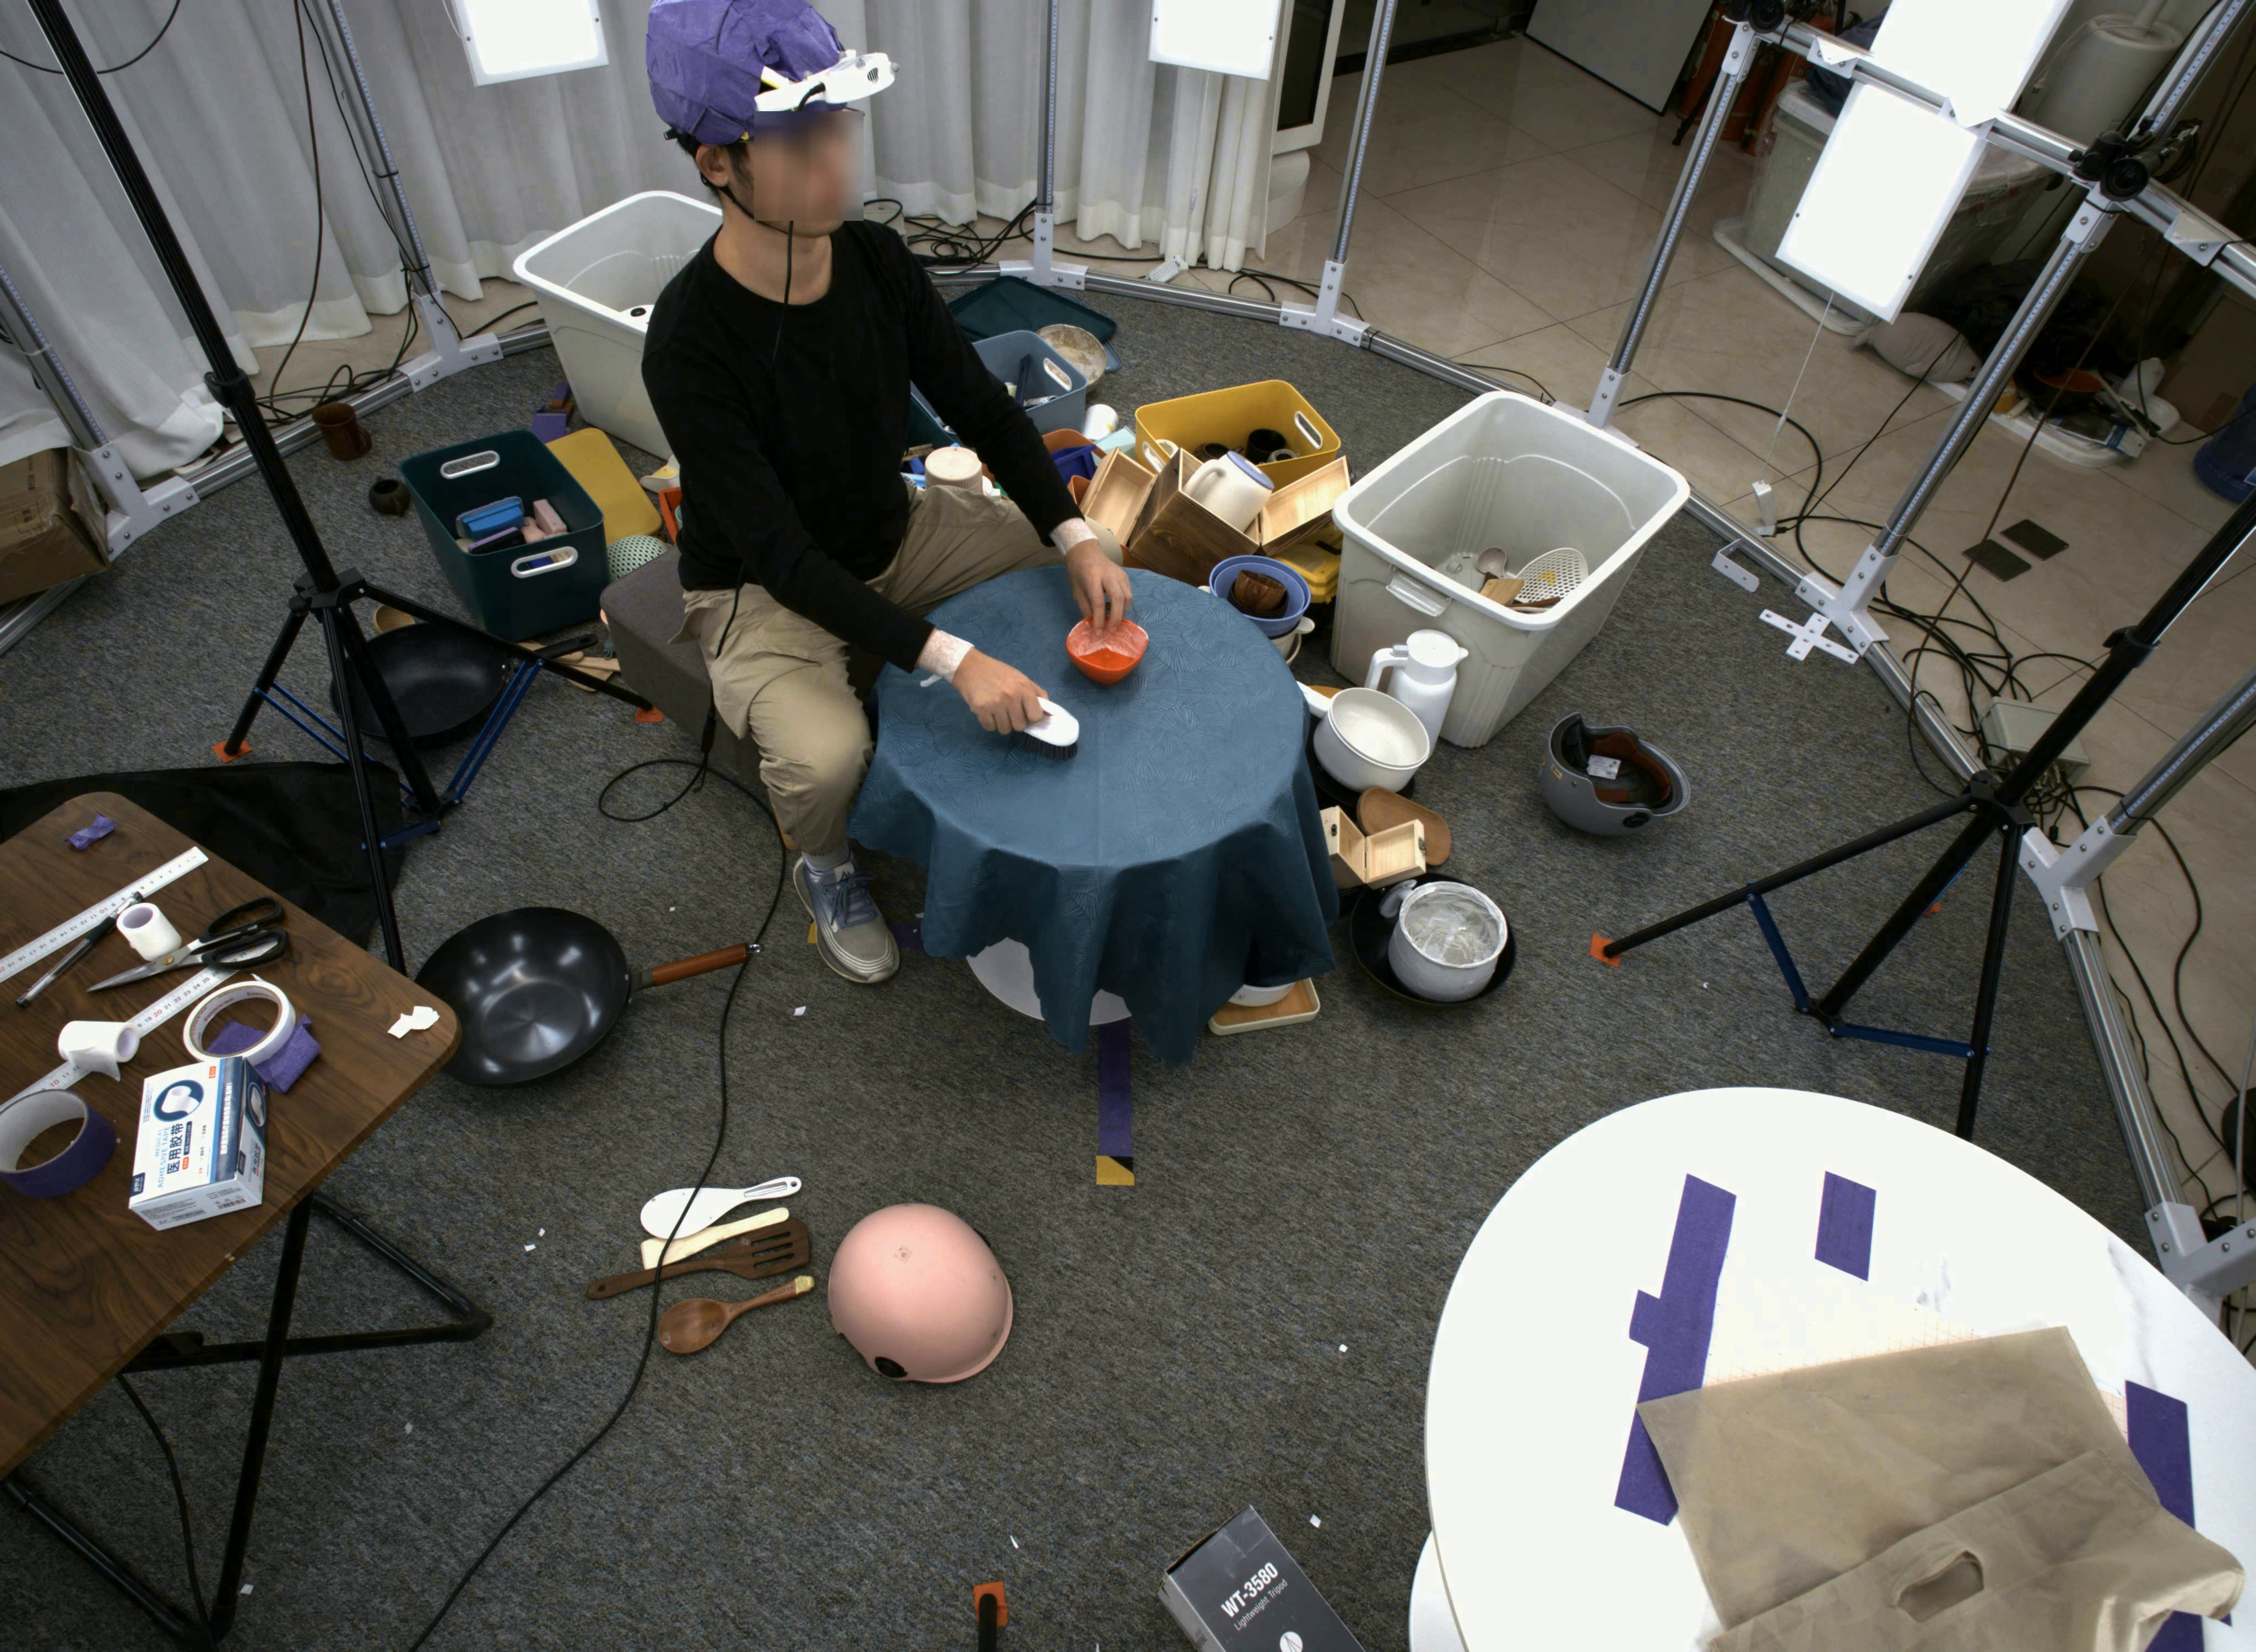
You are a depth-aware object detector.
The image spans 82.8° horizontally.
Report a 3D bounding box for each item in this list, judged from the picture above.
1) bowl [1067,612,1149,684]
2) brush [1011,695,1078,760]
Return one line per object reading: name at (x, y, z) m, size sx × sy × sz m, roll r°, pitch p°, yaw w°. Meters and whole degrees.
bowl at (-0.031, -0.250, 1.850) m, size 0.119 × 0.050 × 0.122 m, roll 3°, pitch 52°, yaw -4°
brush at (-0.114, -0.141, 1.737) m, size 0.100 × 0.071 × 0.051 m, roll 28°, pitch 54°, yaw 18°
